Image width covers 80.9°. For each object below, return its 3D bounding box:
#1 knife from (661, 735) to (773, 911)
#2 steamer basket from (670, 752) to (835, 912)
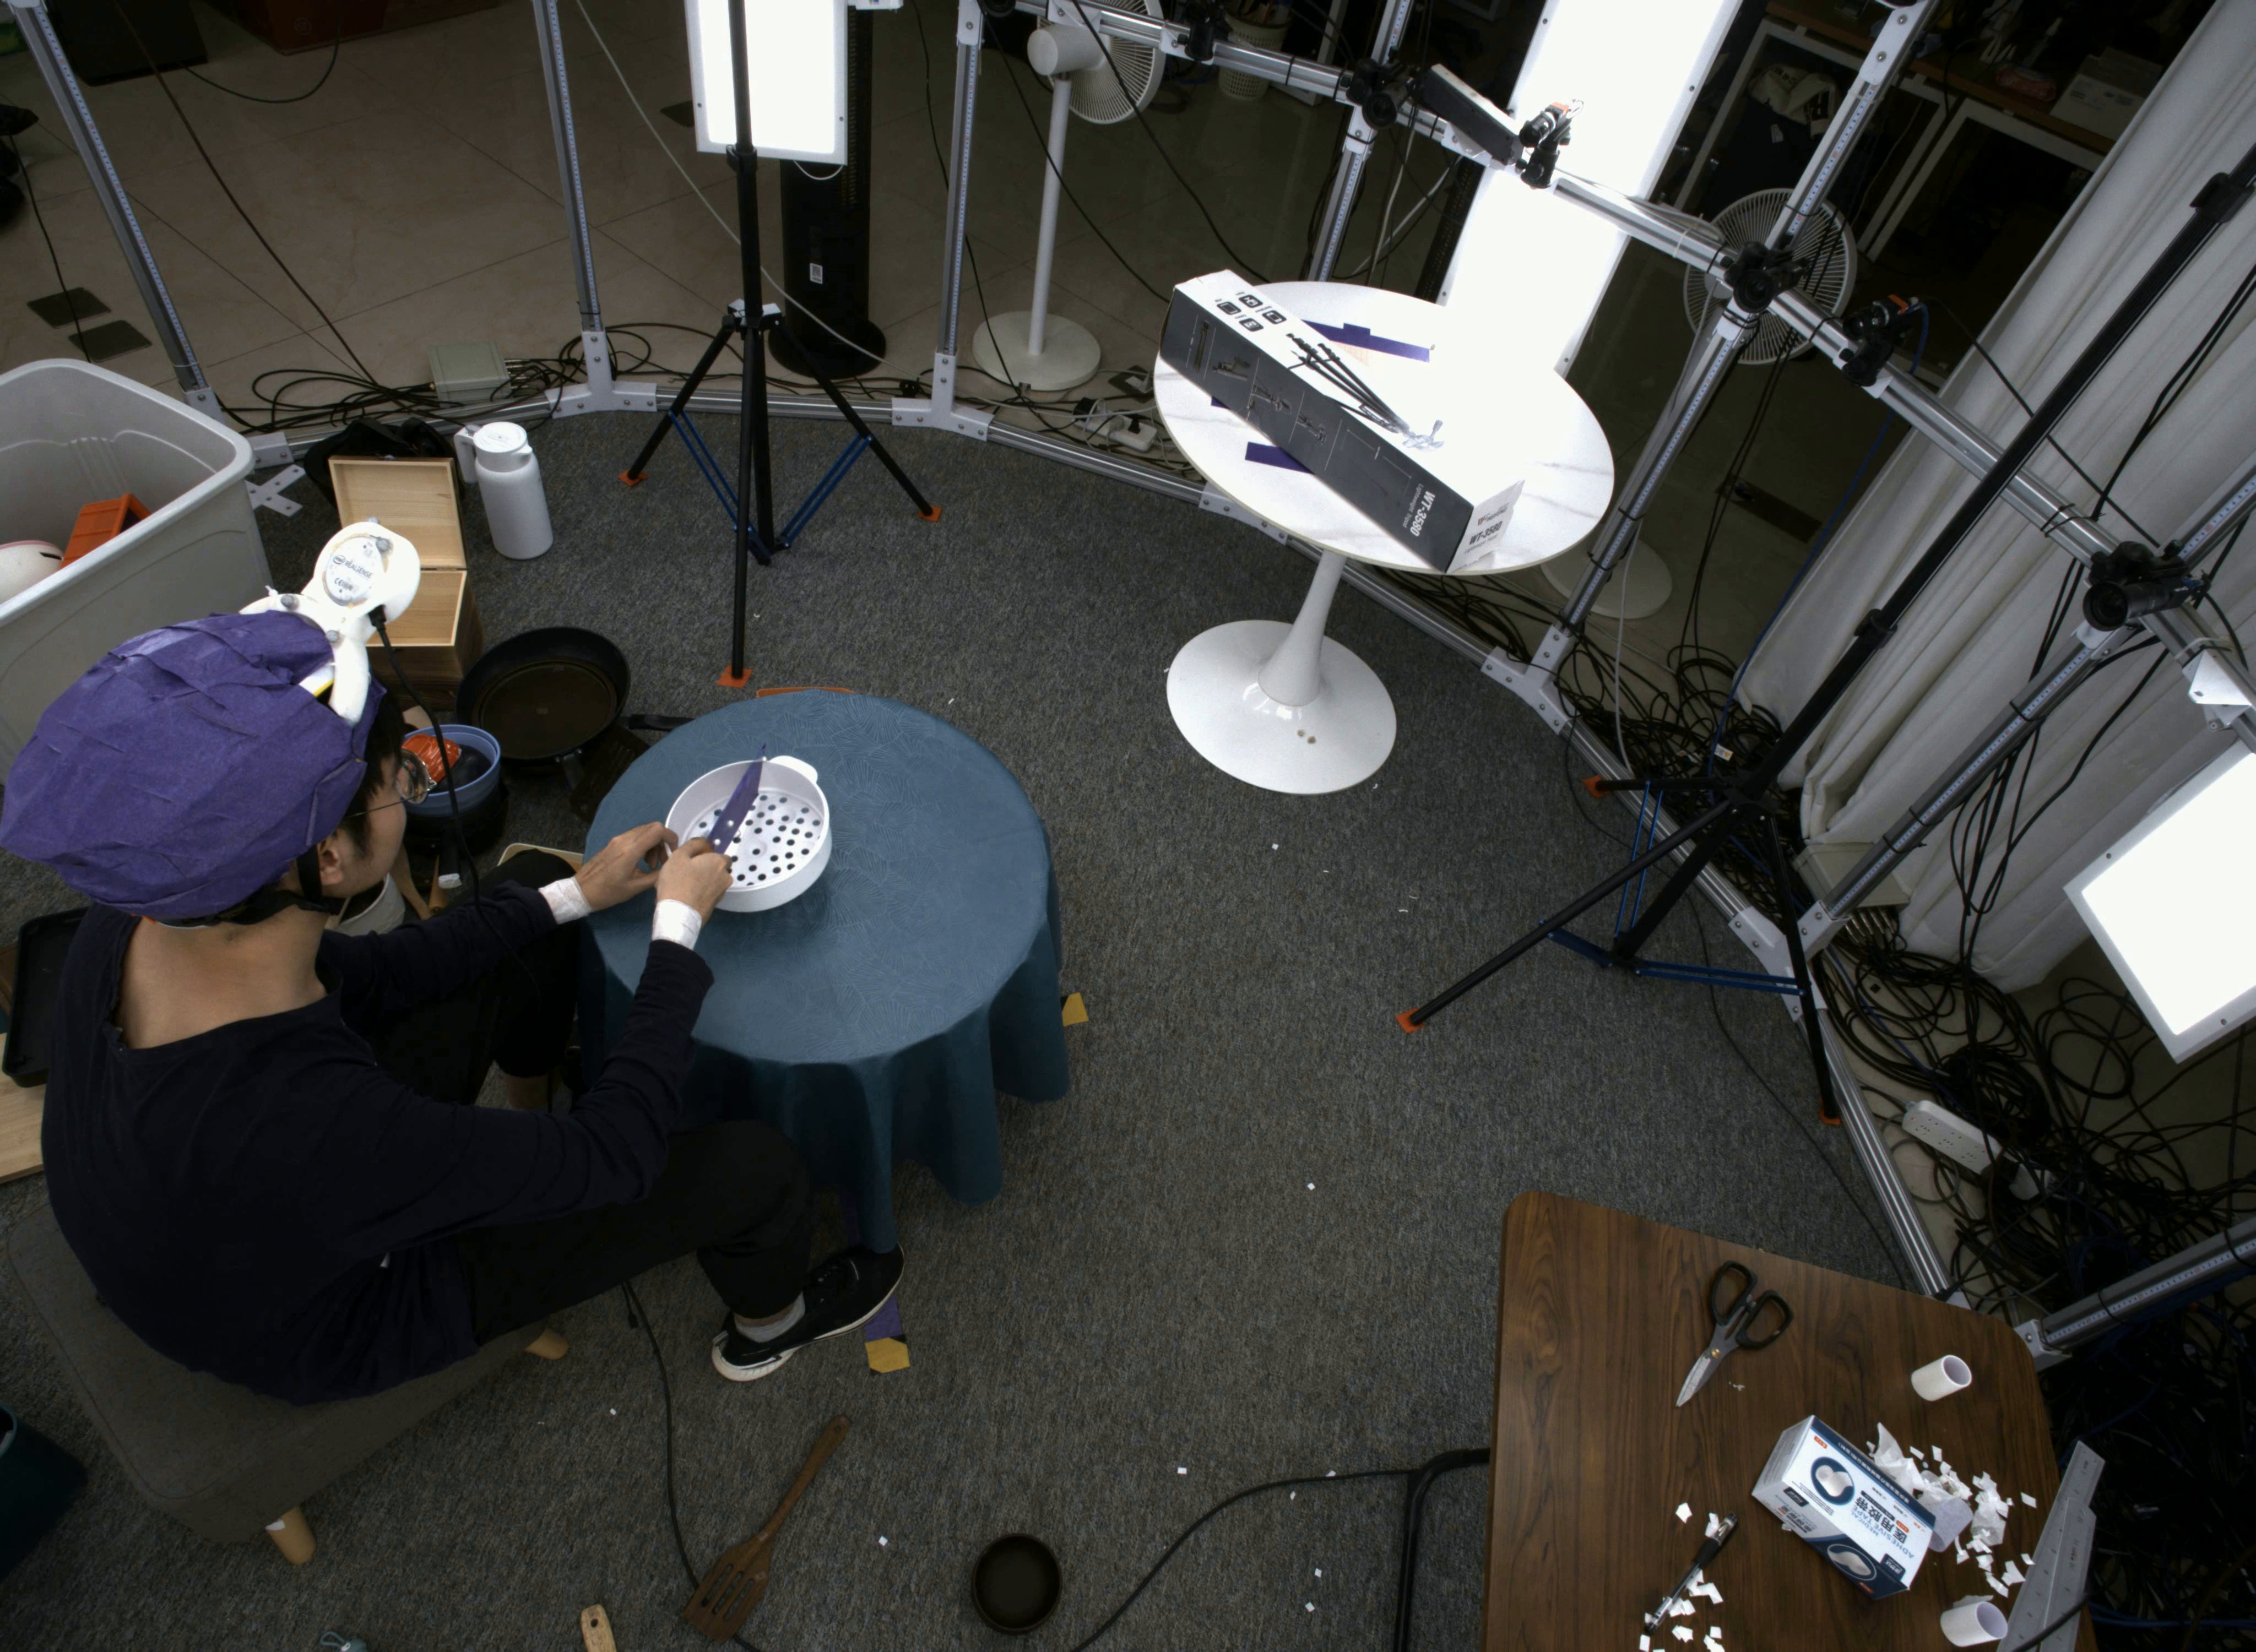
[{"bbox_3d":[-0.481,0.013,1.536,0.032,0.106,0.310,17,37,-2],"label":"knife"},{"bbox_3d":[-0.469,0.012,1.628,0.197,0.071,0.229,23,59,13],"label":"steamer basket"}]
